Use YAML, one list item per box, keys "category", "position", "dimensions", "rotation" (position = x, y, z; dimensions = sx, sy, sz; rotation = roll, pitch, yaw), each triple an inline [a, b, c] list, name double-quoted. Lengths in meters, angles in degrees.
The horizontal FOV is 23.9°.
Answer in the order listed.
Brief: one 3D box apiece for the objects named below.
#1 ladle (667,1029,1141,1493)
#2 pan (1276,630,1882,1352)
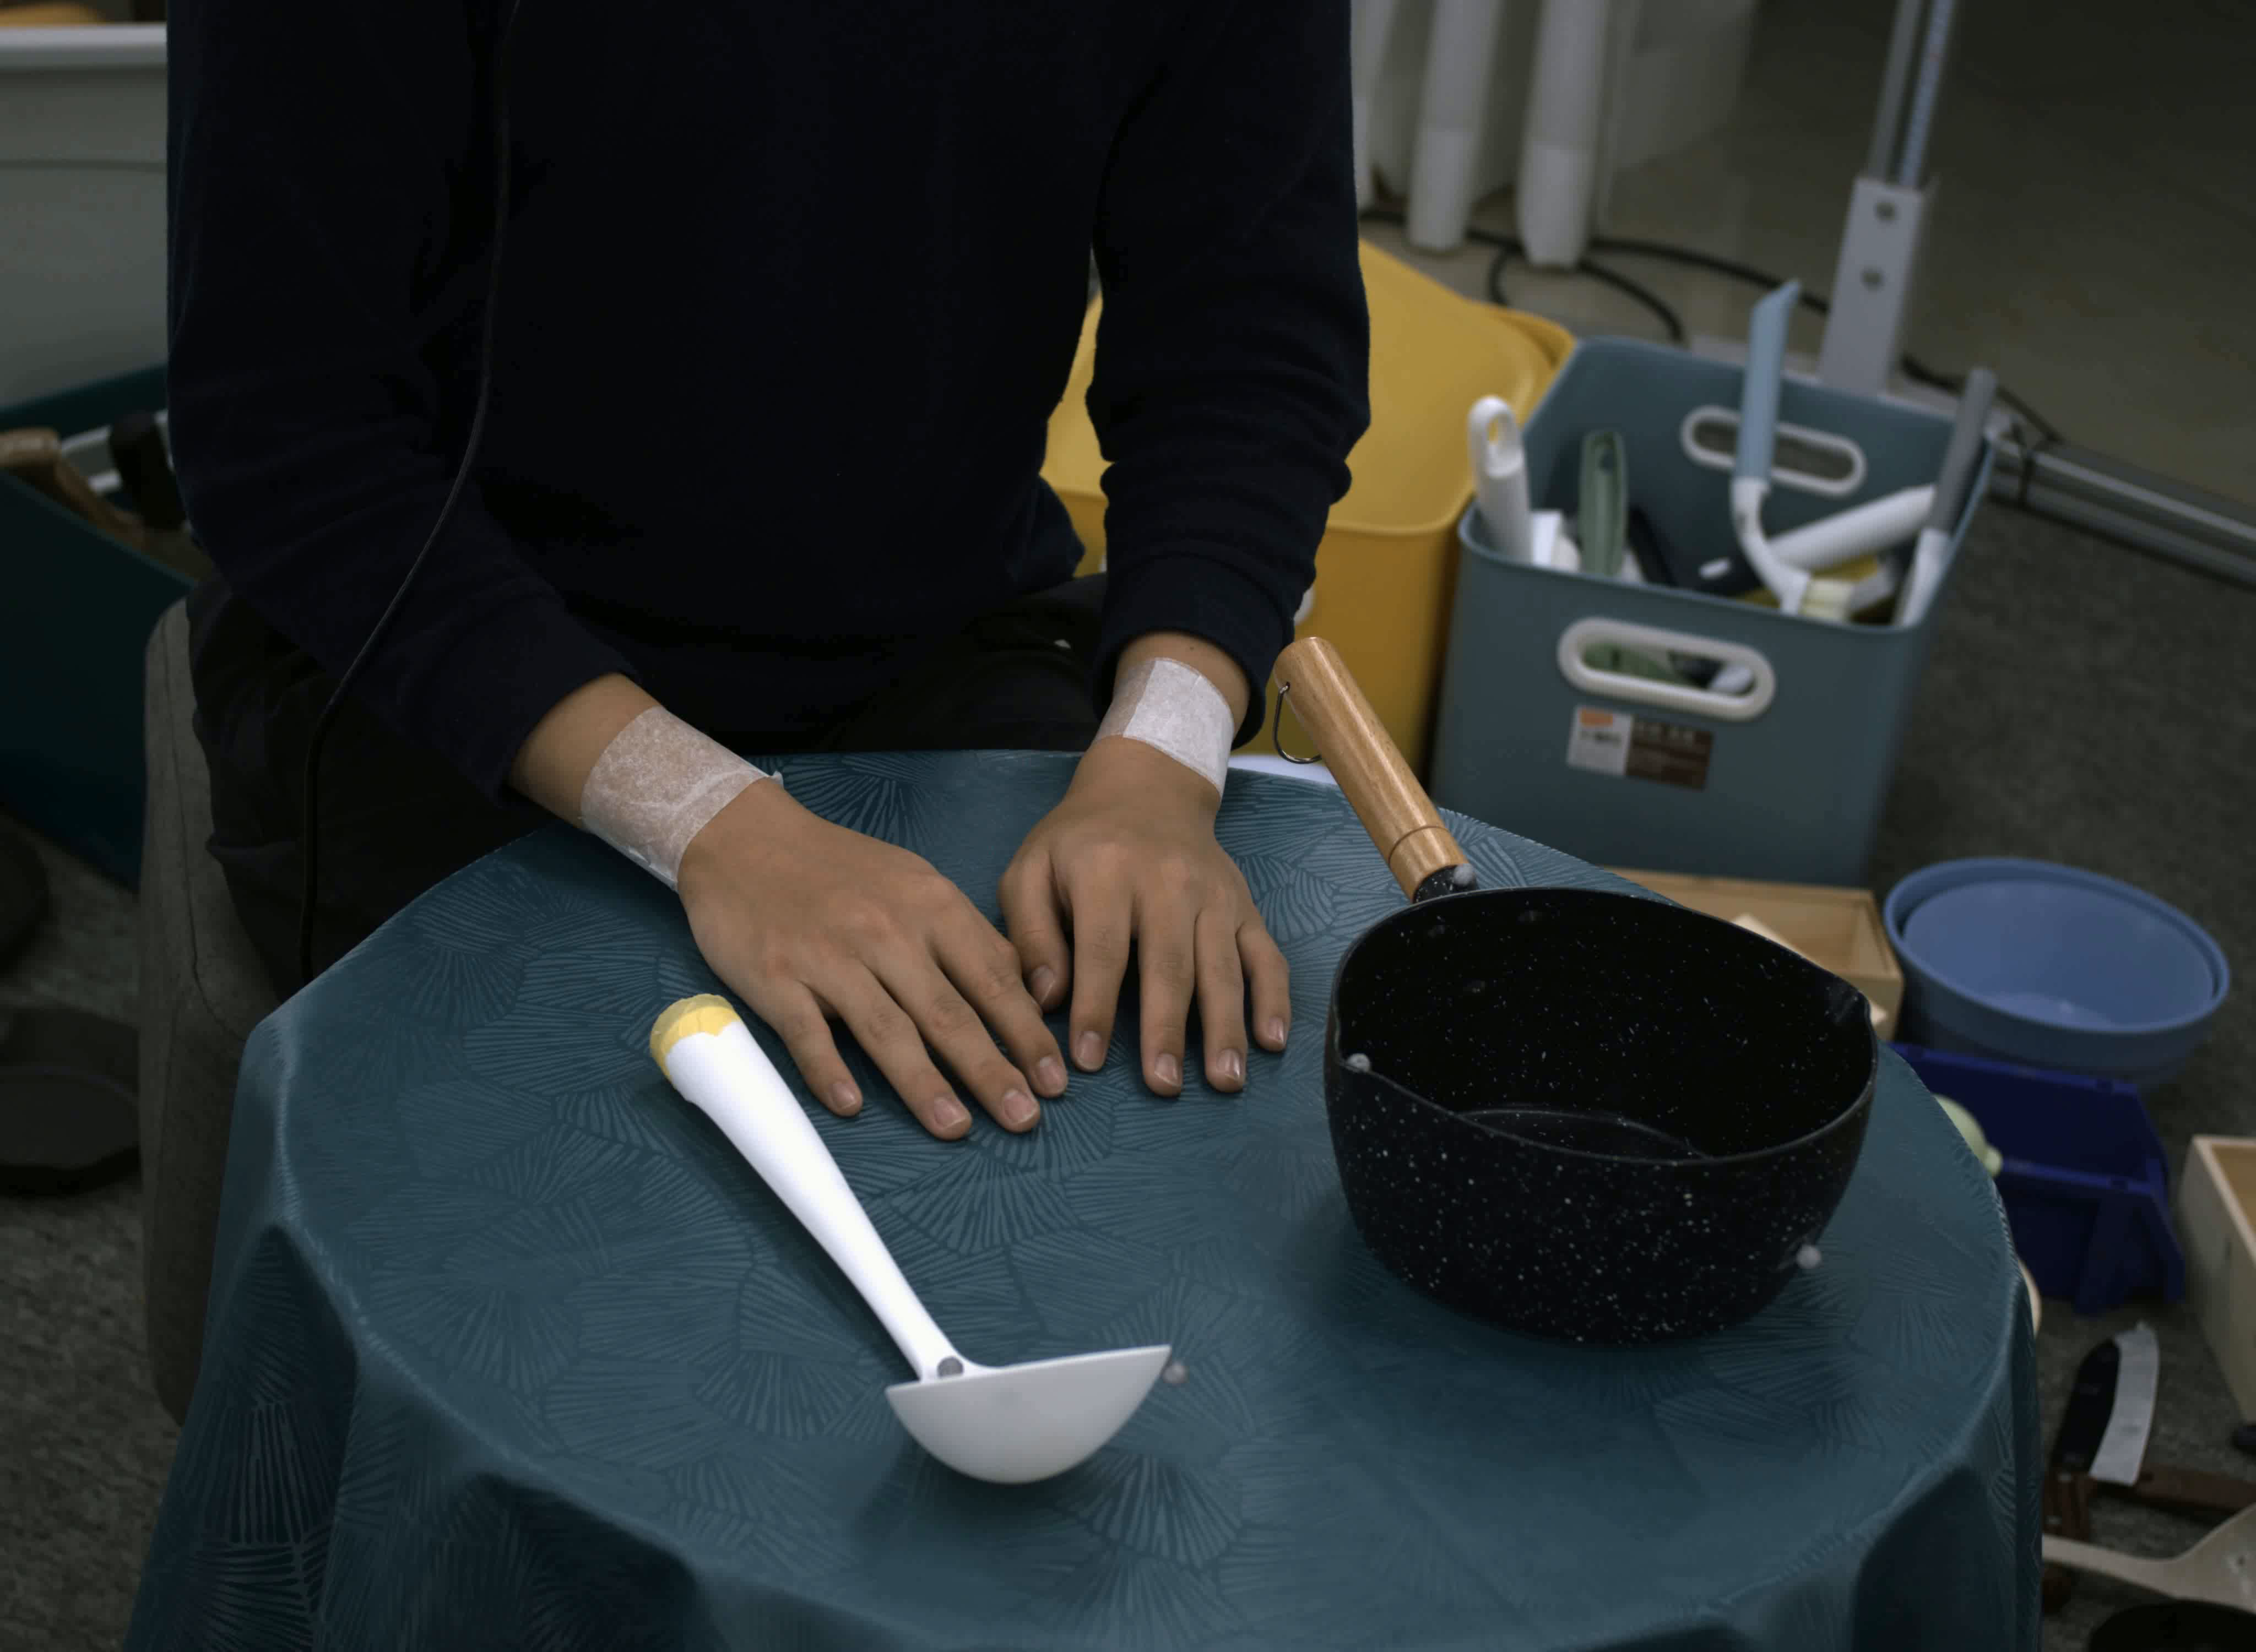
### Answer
- category: "ladle"
  position: [-0.086, 0.128, 1.716]
  dimensions: [0.089, 0.069, 0.295]
  rotation: [-11, 29, -21]
- category: "pan"
  position: [0.124, 0.054, 1.848]
  dimensions: [0.206, 0.108, 0.346]
  rotation: [-7, 31, -23]
